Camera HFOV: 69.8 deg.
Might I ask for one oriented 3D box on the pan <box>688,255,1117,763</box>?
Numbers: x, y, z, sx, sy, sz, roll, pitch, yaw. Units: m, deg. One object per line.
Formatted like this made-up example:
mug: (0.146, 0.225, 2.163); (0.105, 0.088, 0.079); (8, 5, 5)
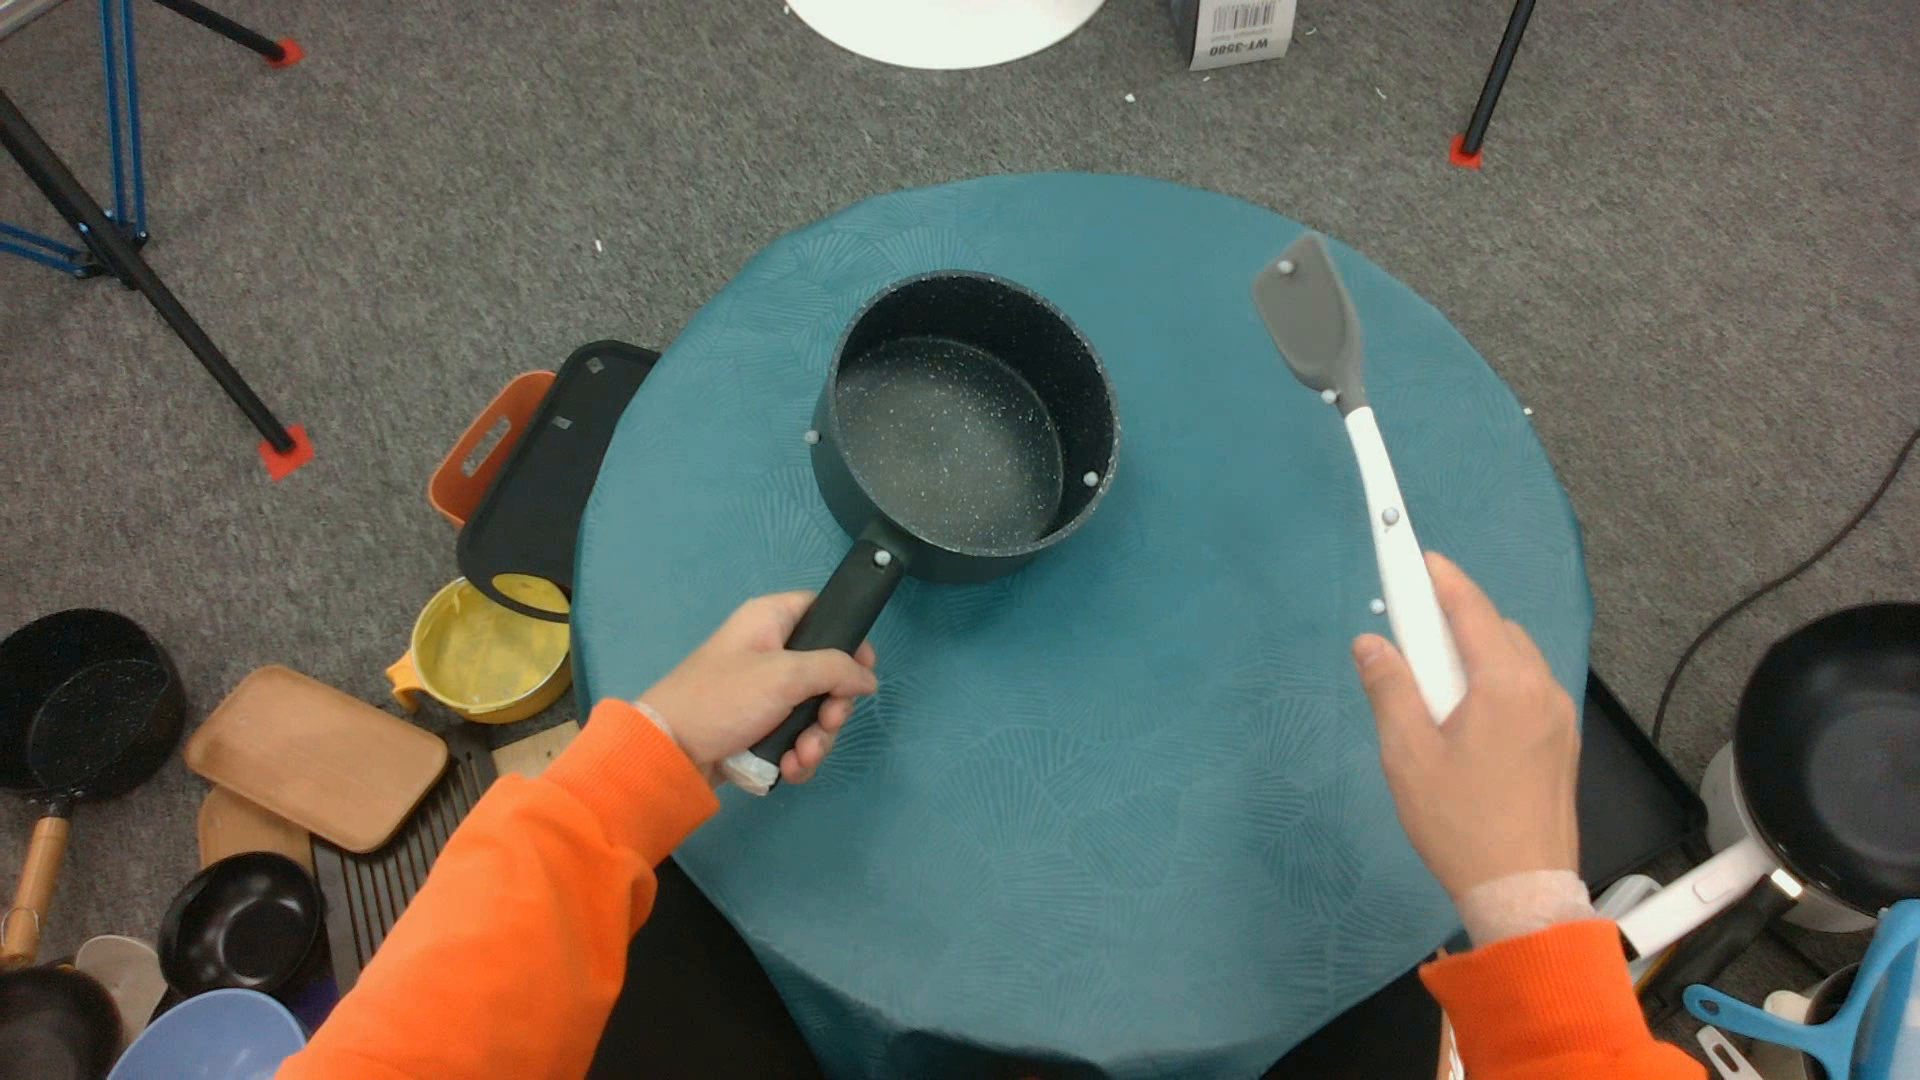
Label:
pan: (-0.042, -0.011, 0.752); (0.172, 0.086, 0.330); (36, 63, -3)

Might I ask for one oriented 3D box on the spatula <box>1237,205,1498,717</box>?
spatula: (0.200, -0.047, 0.689); (0.032, 0.058, 0.288); (7, 55, -28)
